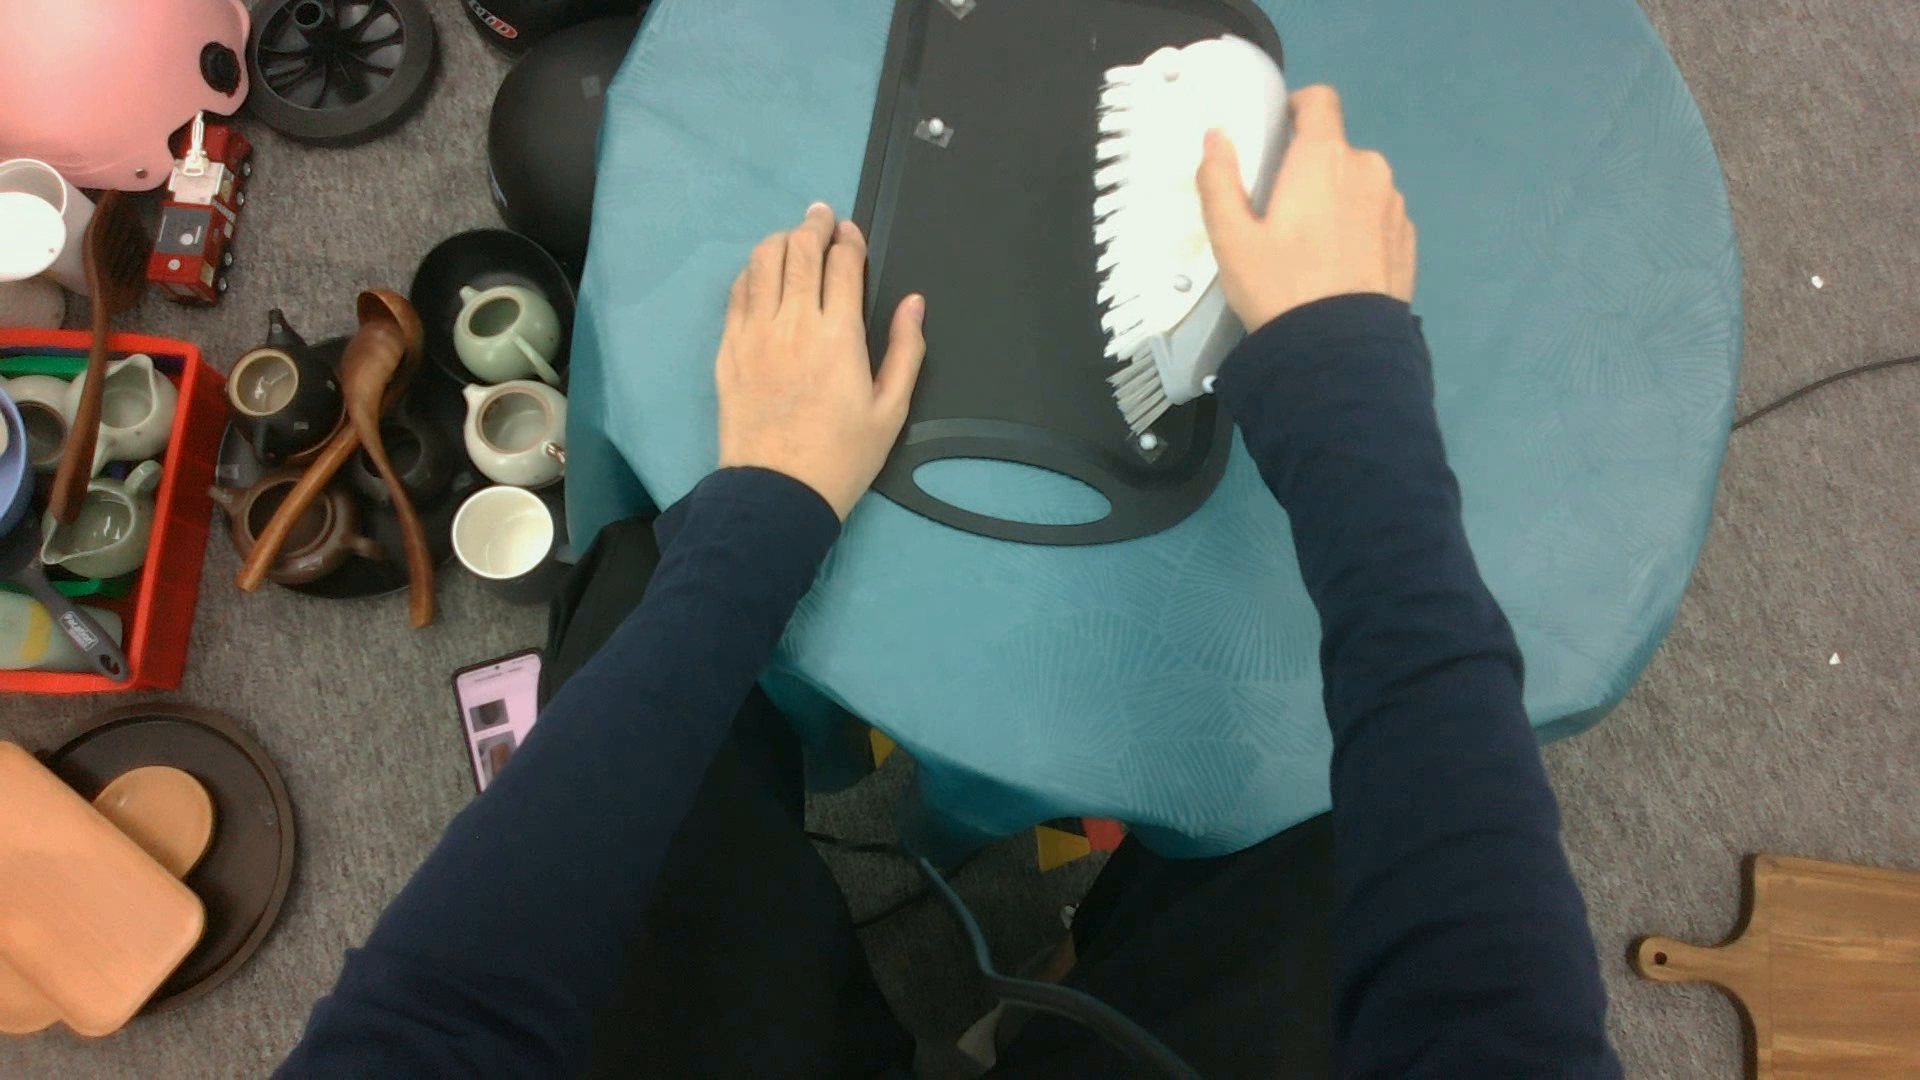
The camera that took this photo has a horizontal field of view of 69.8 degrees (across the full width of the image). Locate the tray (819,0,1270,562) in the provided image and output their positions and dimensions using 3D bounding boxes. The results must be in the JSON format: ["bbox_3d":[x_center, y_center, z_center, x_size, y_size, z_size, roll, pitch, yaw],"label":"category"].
[{"bbox_3d":[0.048,-0.147,0.723,0.211,0.010,0.326,9,76,1],"label":"tray"}]

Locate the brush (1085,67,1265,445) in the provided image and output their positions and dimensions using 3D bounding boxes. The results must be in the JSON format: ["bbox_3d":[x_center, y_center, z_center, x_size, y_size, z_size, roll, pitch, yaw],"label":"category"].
[{"bbox_3d":[0.107,-0.137,0.646,0.061,0.094,0.176,9,76,-28],"label":"brush"}]
